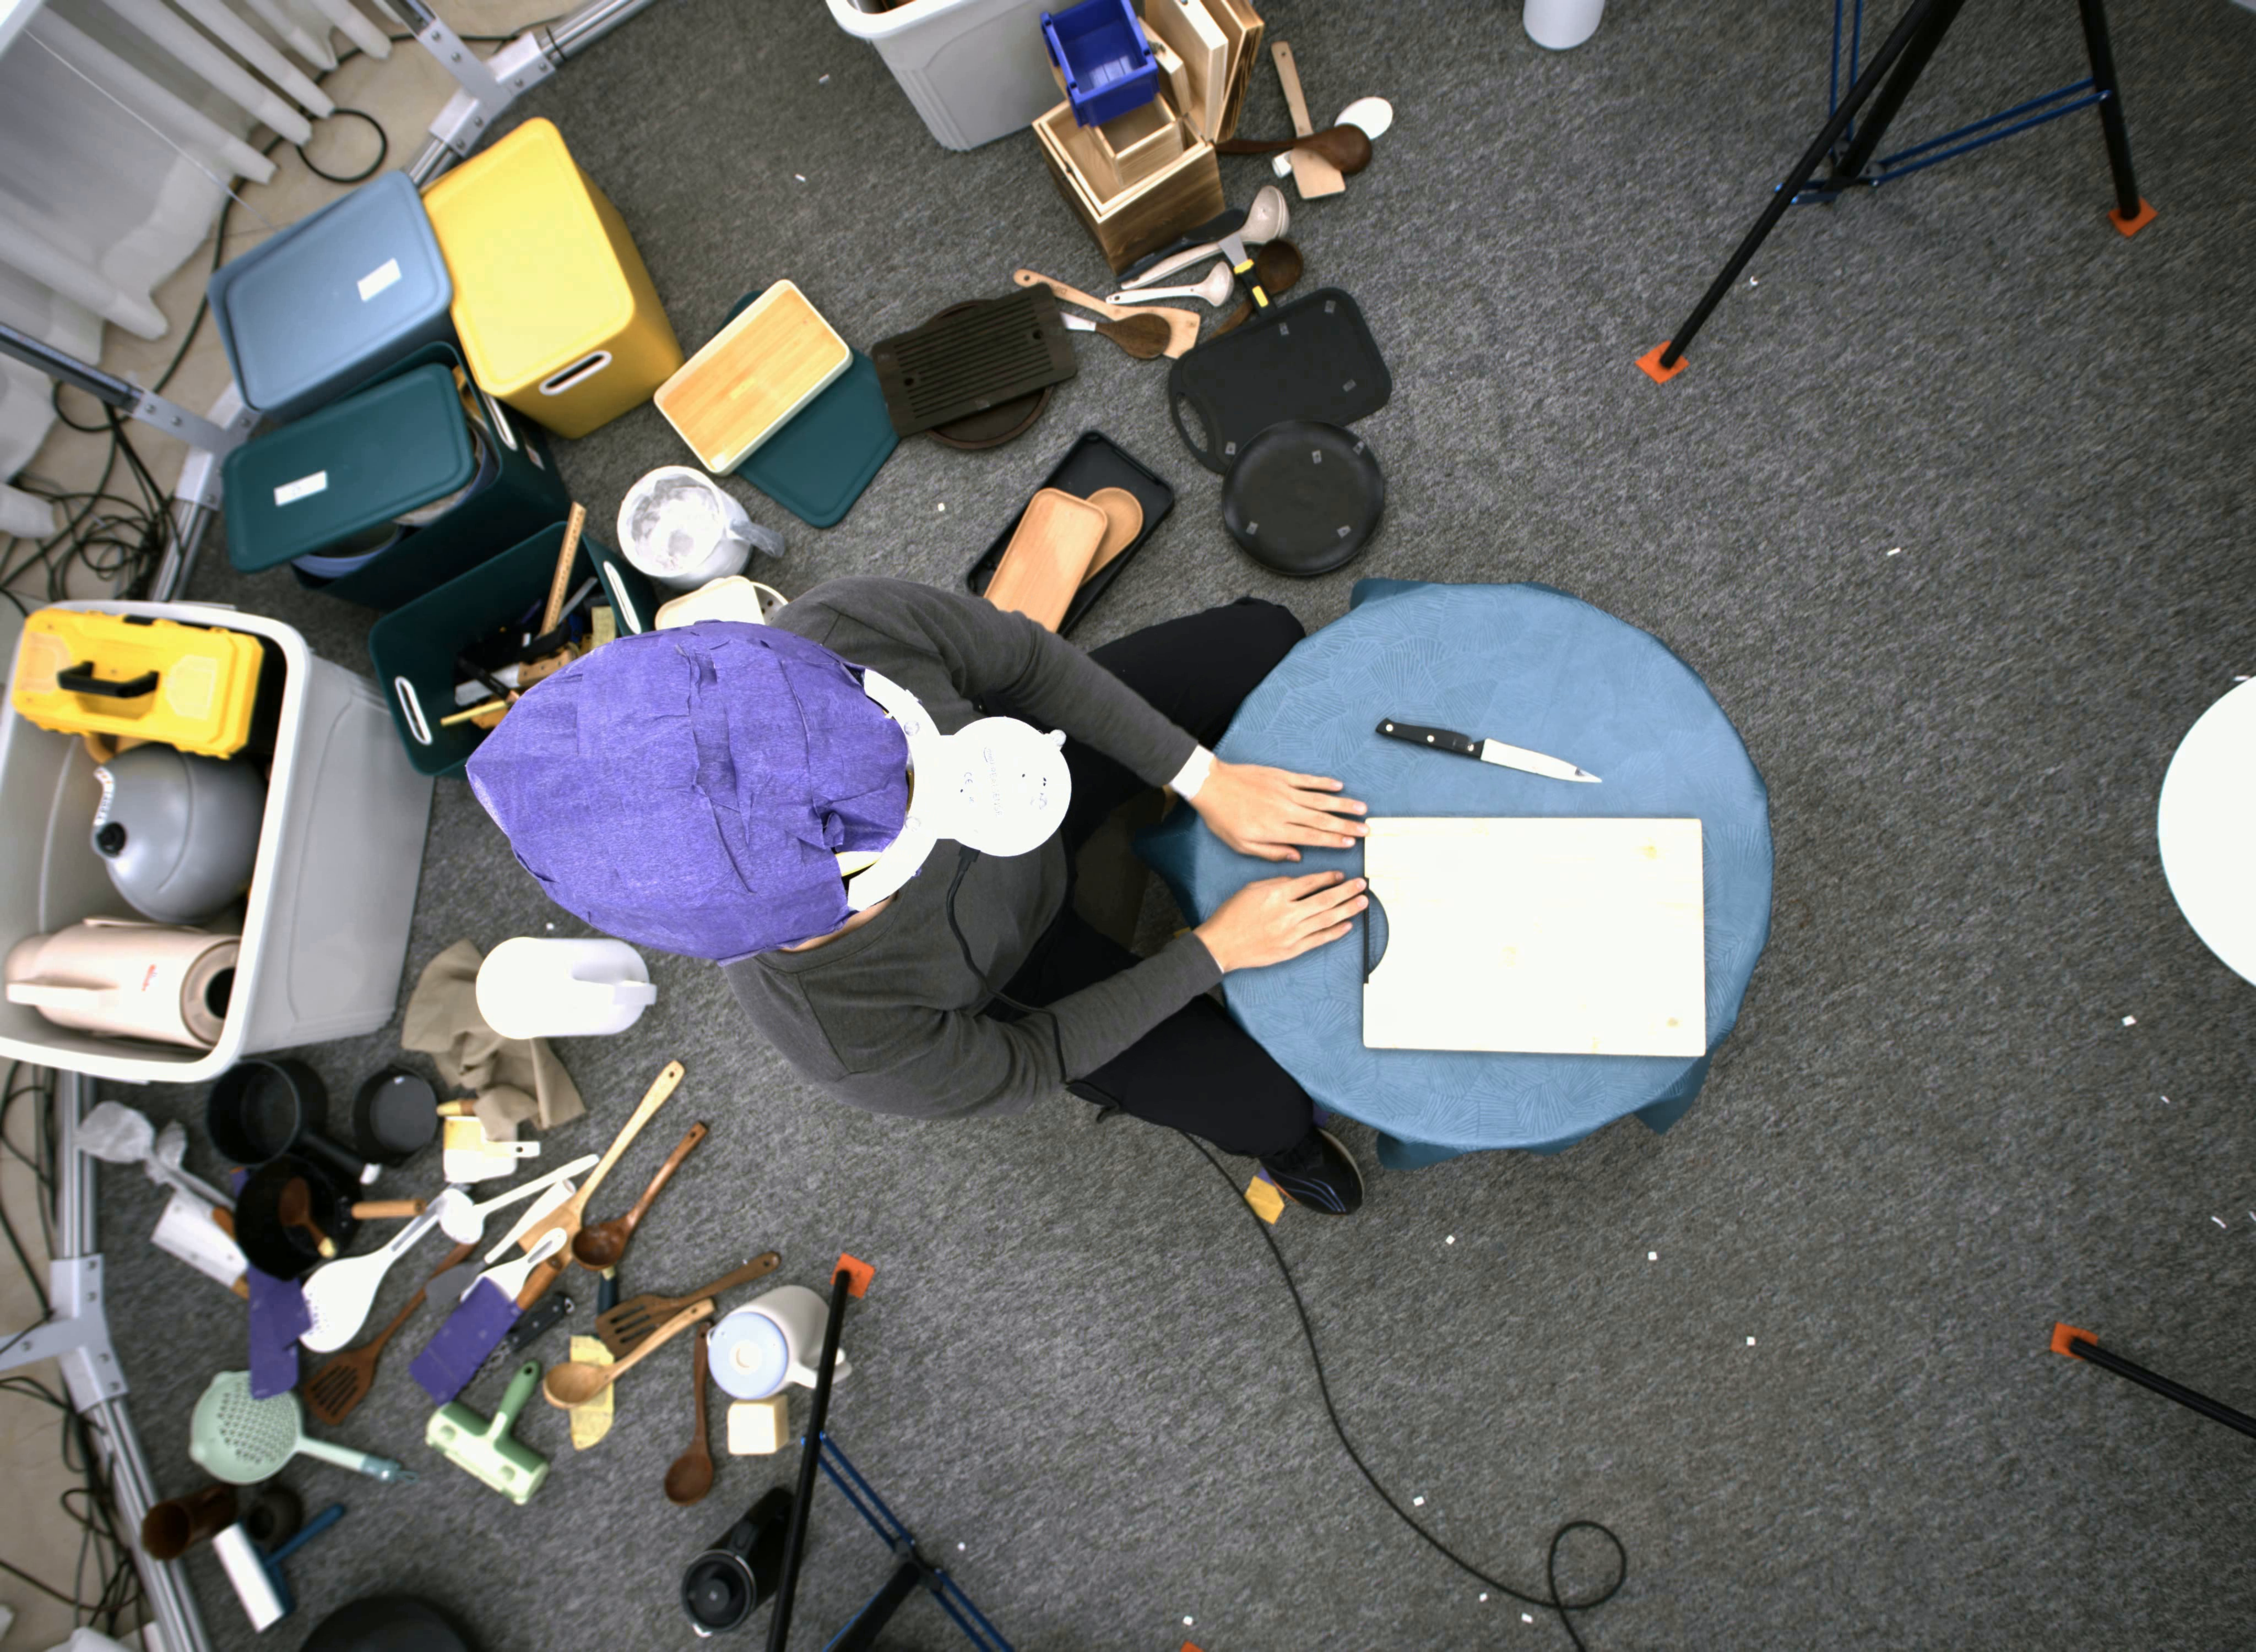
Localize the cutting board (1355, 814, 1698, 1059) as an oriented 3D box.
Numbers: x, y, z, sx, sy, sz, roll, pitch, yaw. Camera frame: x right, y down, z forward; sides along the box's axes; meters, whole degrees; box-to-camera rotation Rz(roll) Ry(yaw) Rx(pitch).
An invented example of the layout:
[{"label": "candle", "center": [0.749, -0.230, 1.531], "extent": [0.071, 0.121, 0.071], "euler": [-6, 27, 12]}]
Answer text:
[{"label": "cutting board", "center": [0.411, 0.108, 1.423], "extent": [0.350, 0.023, 0.249], "euler": [-1, 86, 10]}]

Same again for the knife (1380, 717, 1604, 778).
[{"label": "knife", "center": [0.381, -0.080, 1.442], "extent": [0.238, 0.016, 0.024], "euler": [14, 90, 8]}]
